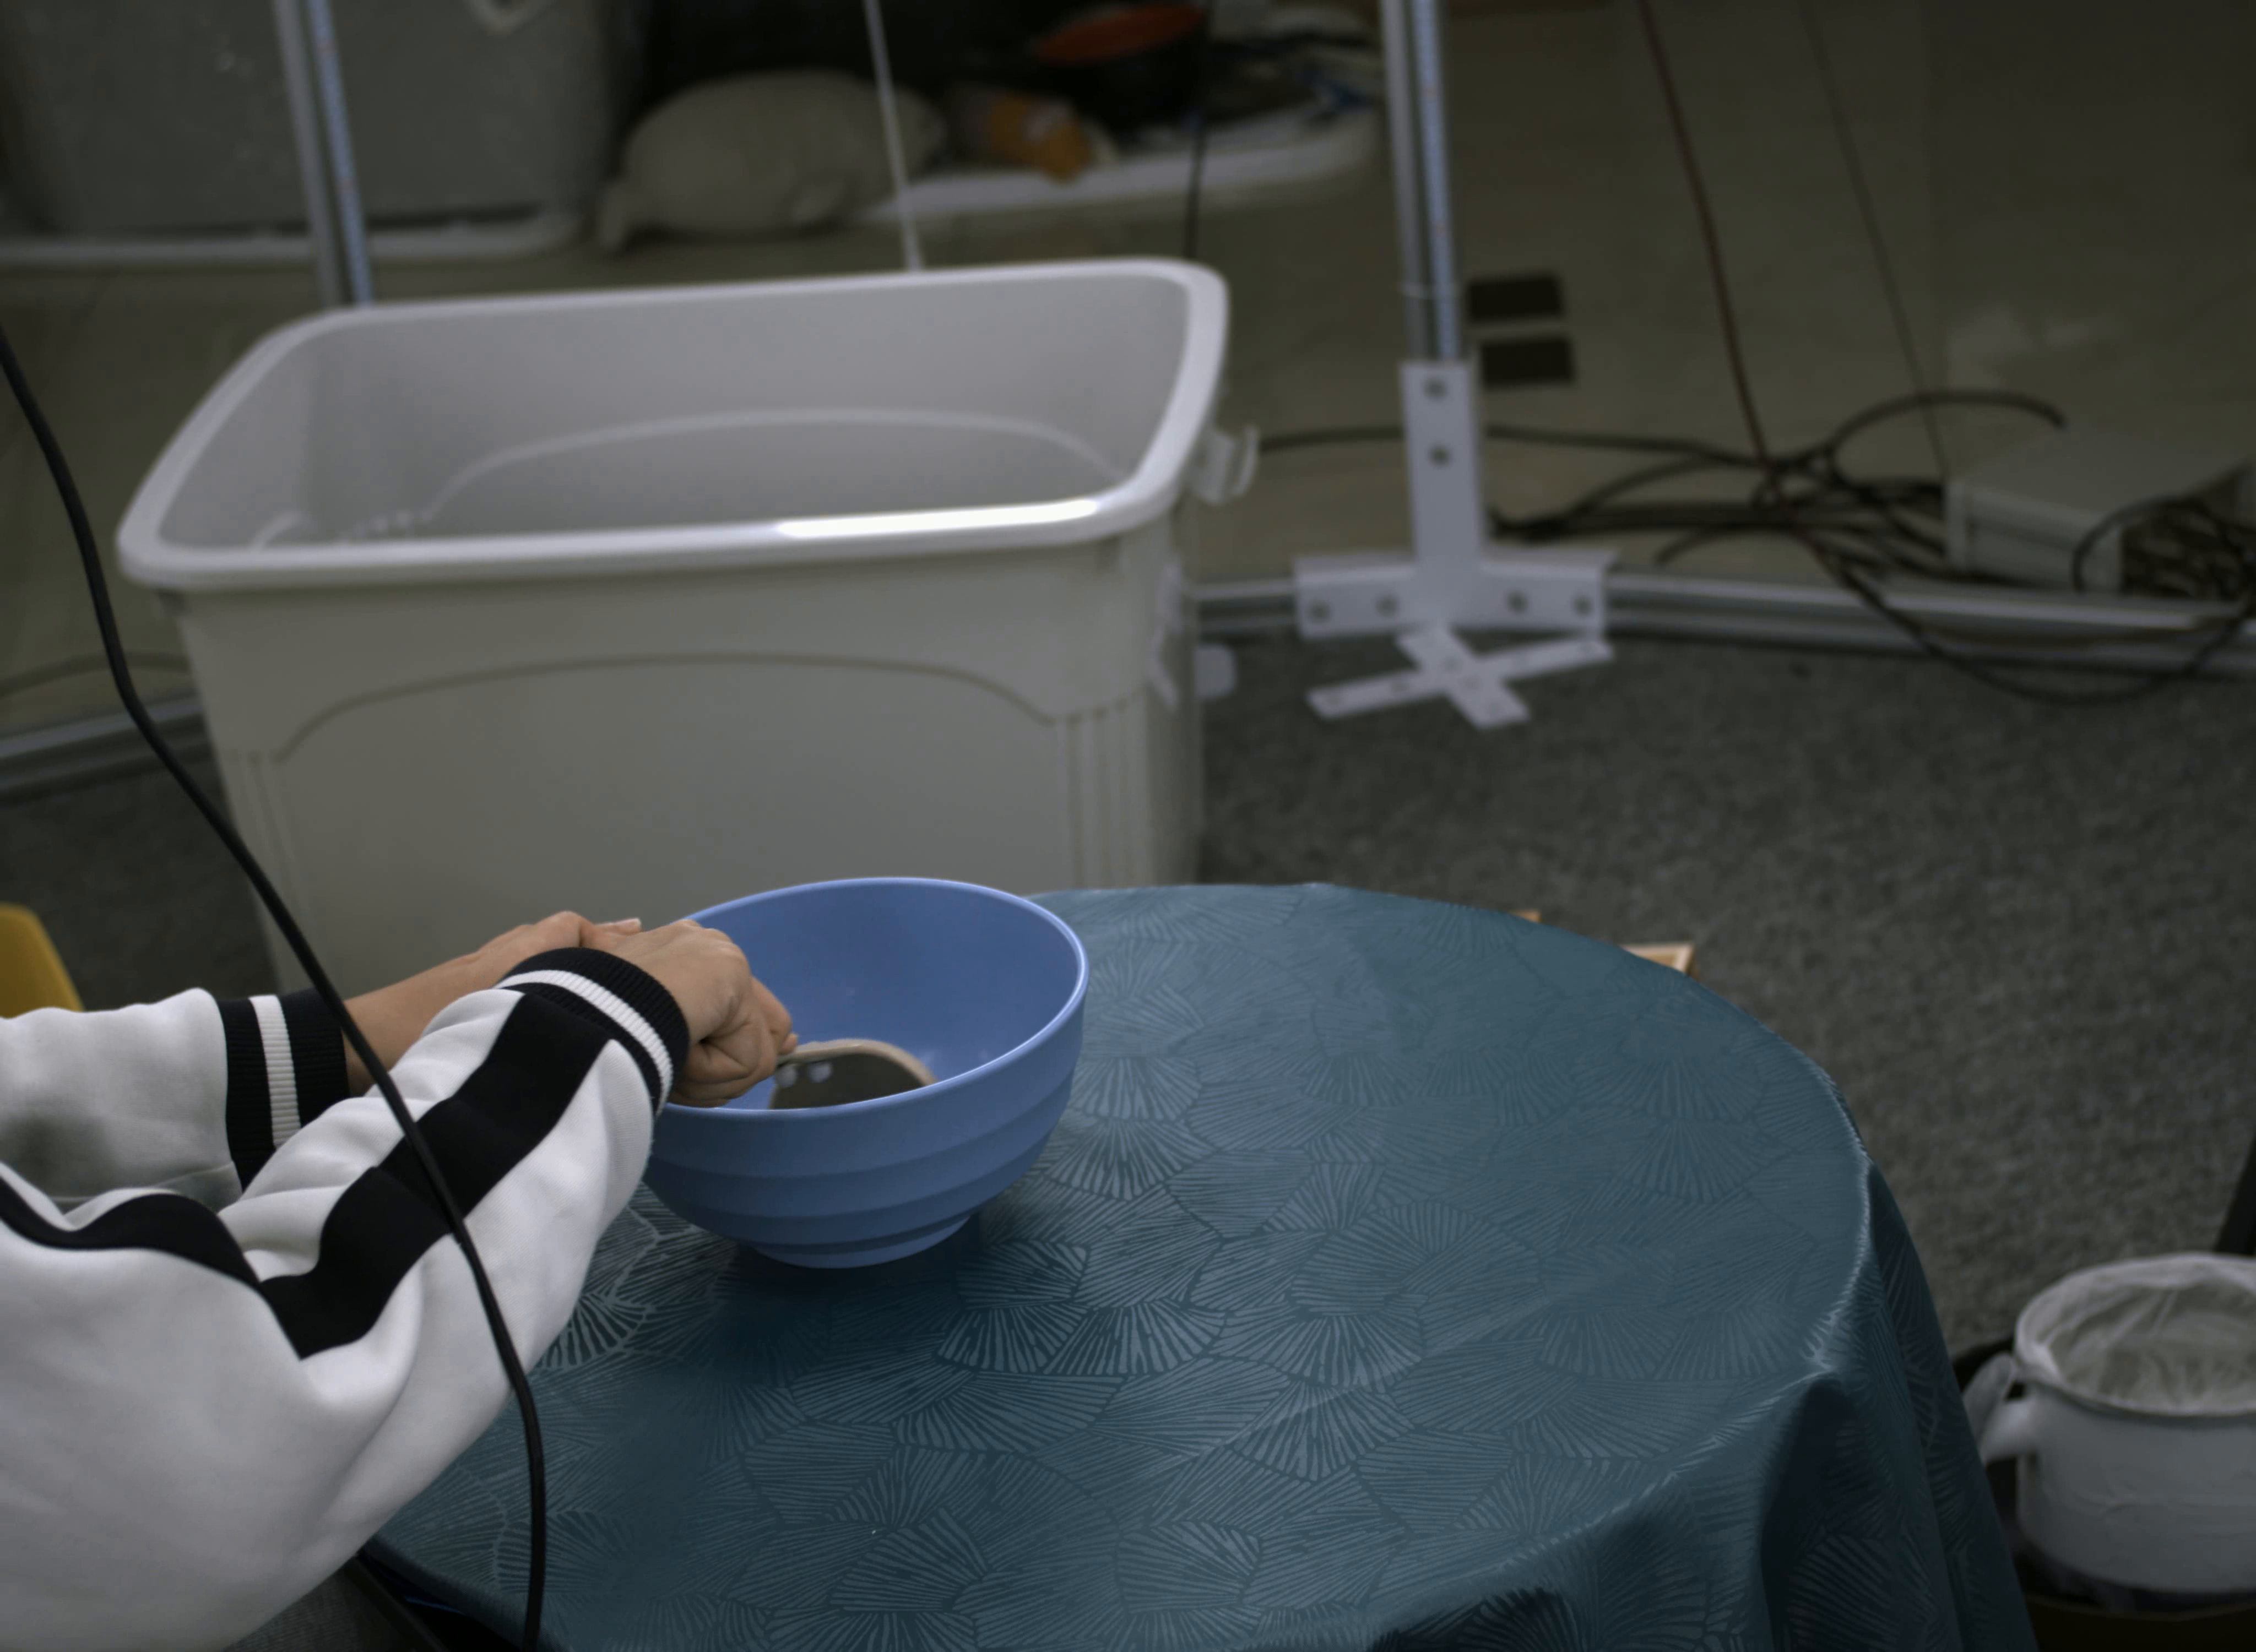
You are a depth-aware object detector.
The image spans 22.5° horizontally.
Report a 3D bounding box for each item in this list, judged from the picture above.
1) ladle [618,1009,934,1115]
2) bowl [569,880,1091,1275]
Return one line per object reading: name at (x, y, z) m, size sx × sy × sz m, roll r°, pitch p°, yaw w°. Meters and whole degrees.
ladle at (-0.131, 0.108, 2.009) m, size 0.072 × 0.073 × 0.255 m, roll 5°, pitch -3°, yaw 18°
bowl at (-0.107, 0.106, 2.138) m, size 0.196 × 0.097 × 0.193 m, roll -5°, pitch 26°, yaw 2°
